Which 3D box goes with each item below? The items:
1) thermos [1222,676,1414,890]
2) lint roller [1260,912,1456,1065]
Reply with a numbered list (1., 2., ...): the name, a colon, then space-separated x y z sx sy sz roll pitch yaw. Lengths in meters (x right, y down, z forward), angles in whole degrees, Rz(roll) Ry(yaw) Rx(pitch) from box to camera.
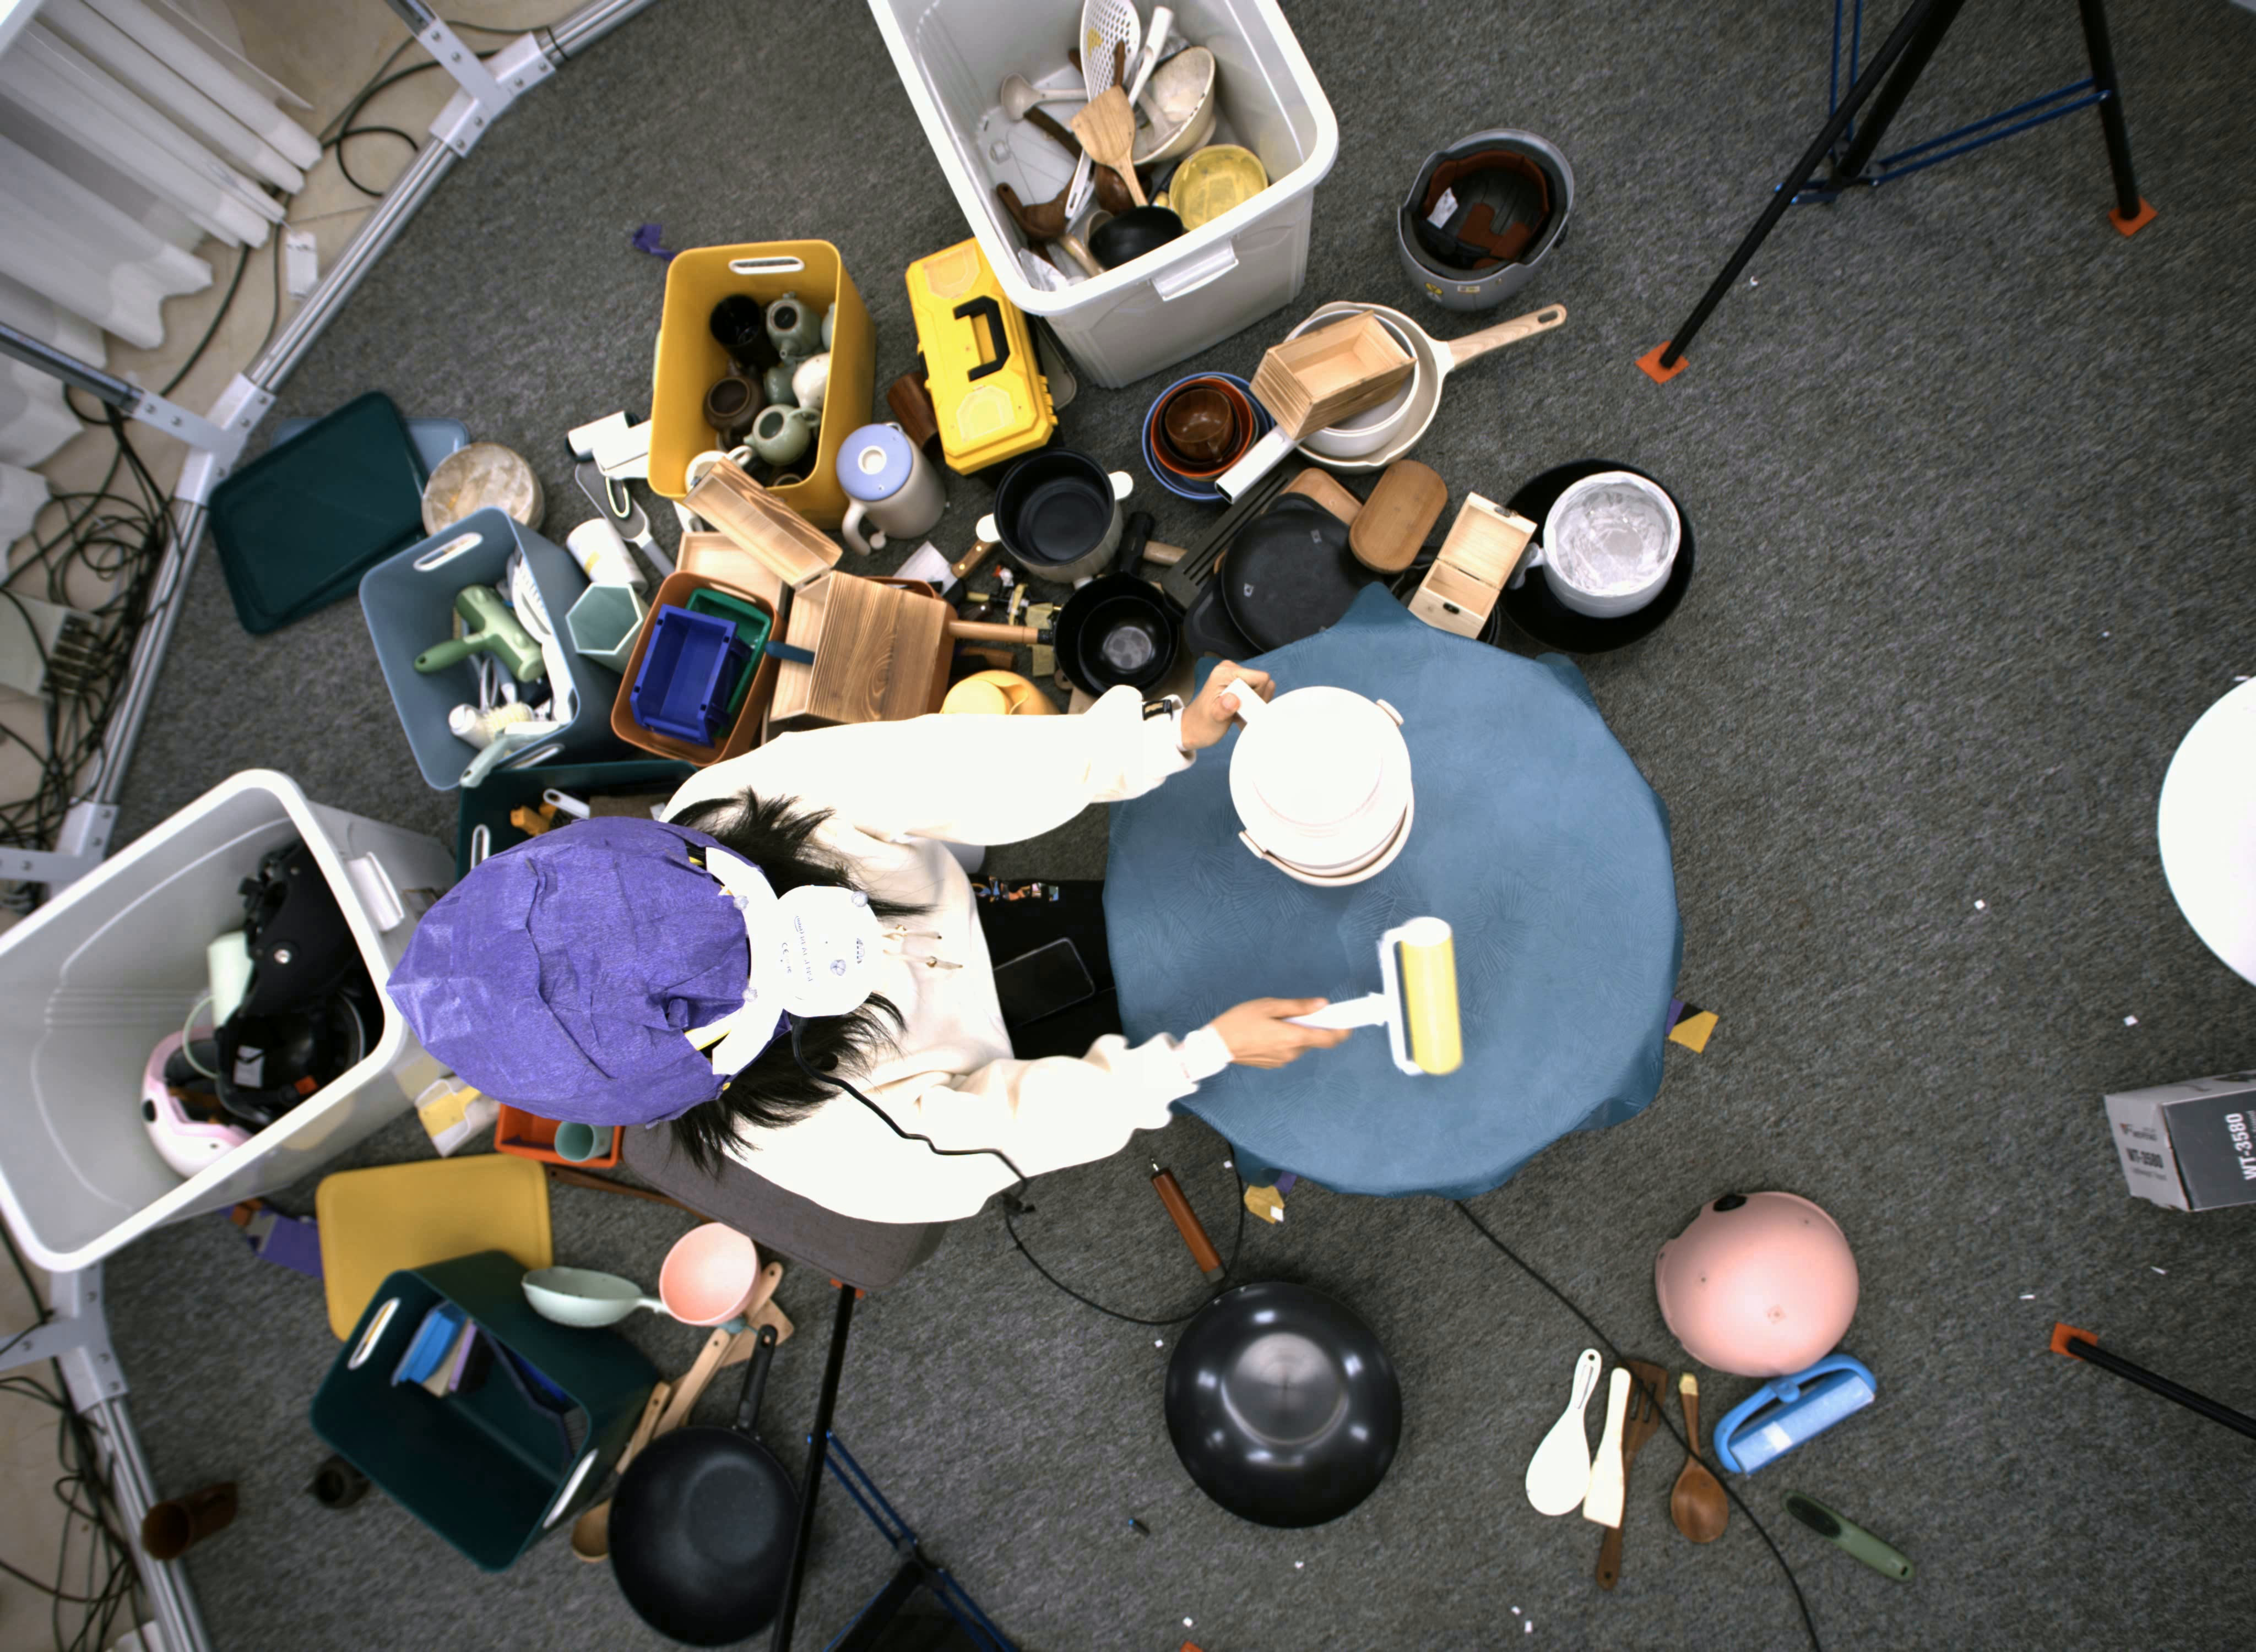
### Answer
1. thermos: 0.173 -0.045 1.284 0.176 0.407 0.206 -44 79 4
2. lint roller: 0.224 0.185 1.346 0.191 0.050 0.178 -22 127 -7
